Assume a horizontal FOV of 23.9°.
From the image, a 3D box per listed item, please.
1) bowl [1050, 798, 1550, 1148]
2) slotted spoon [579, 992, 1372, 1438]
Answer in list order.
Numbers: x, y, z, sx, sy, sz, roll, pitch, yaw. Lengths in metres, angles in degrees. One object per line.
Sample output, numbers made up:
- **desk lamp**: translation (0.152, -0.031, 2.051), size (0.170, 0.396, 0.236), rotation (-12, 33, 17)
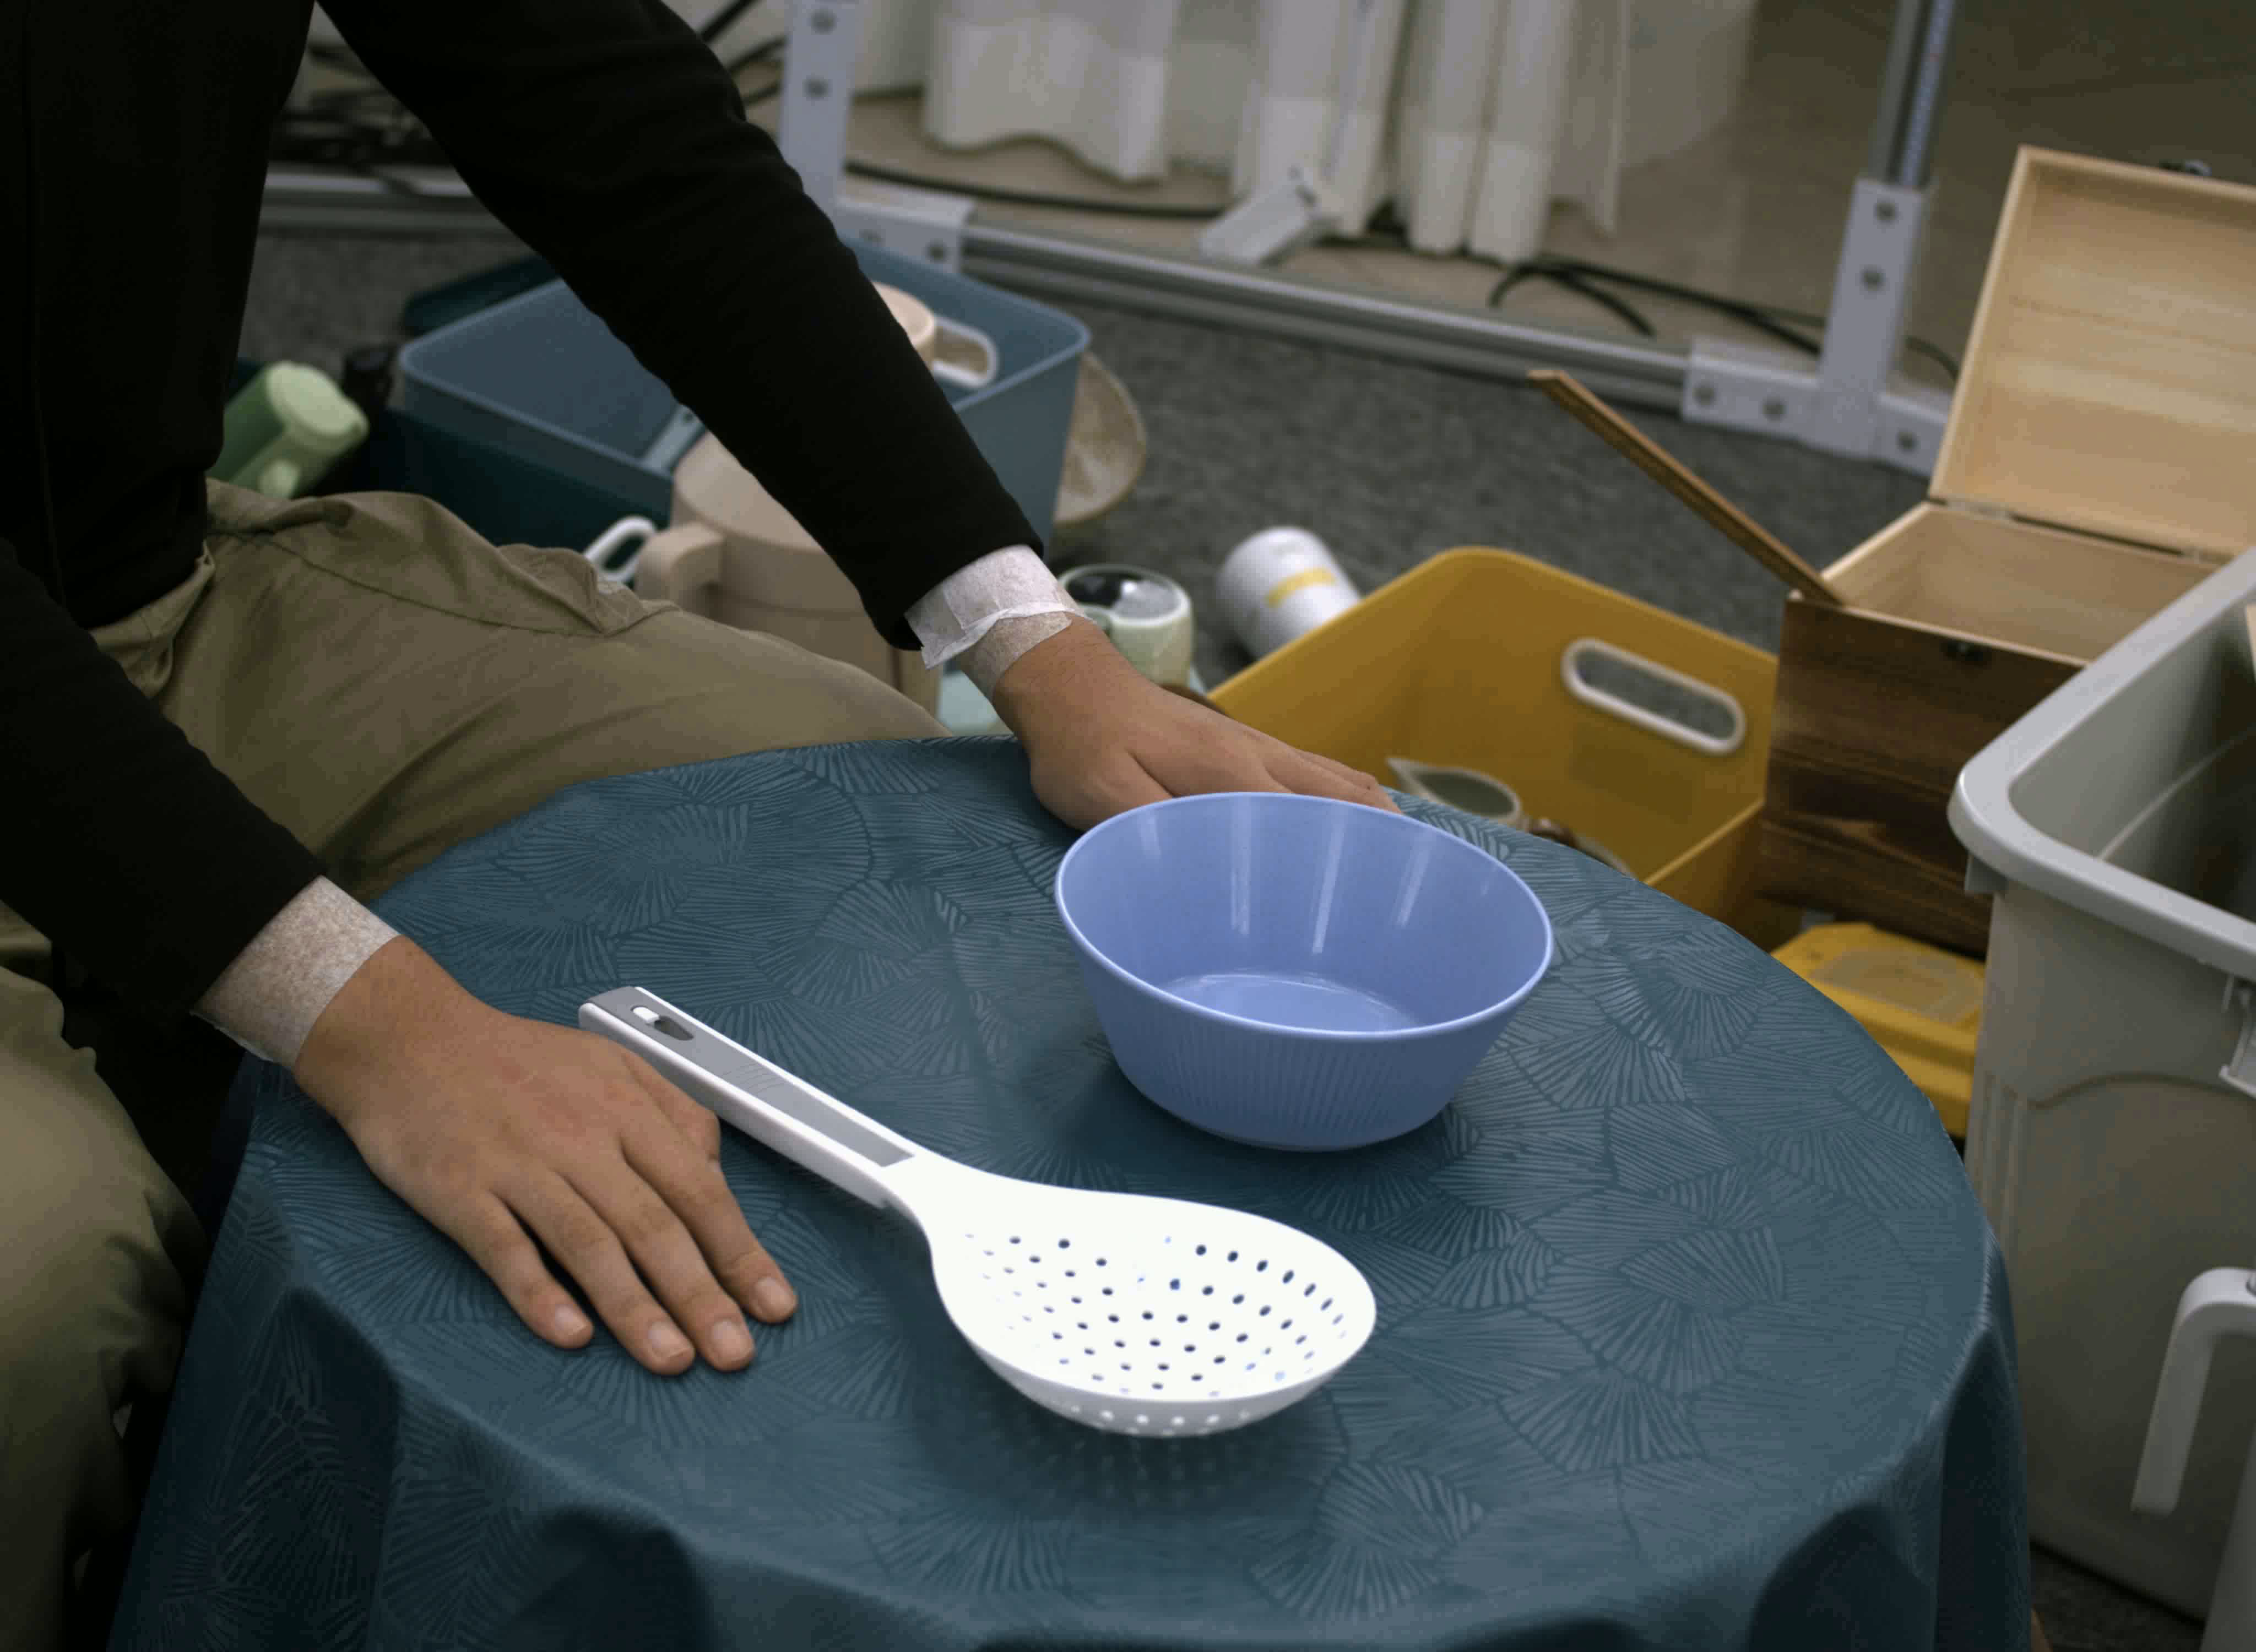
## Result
- **bowl**: translation (0.057, 0.057, 1.869), size (0.175, 0.070, 0.177), rotation (4, 26, -2)
- **slotted spoon**: translation (-0.065, 0.121, 1.743), size (0.135, 0.045, 0.352), rotation (-18, 35, -39)
